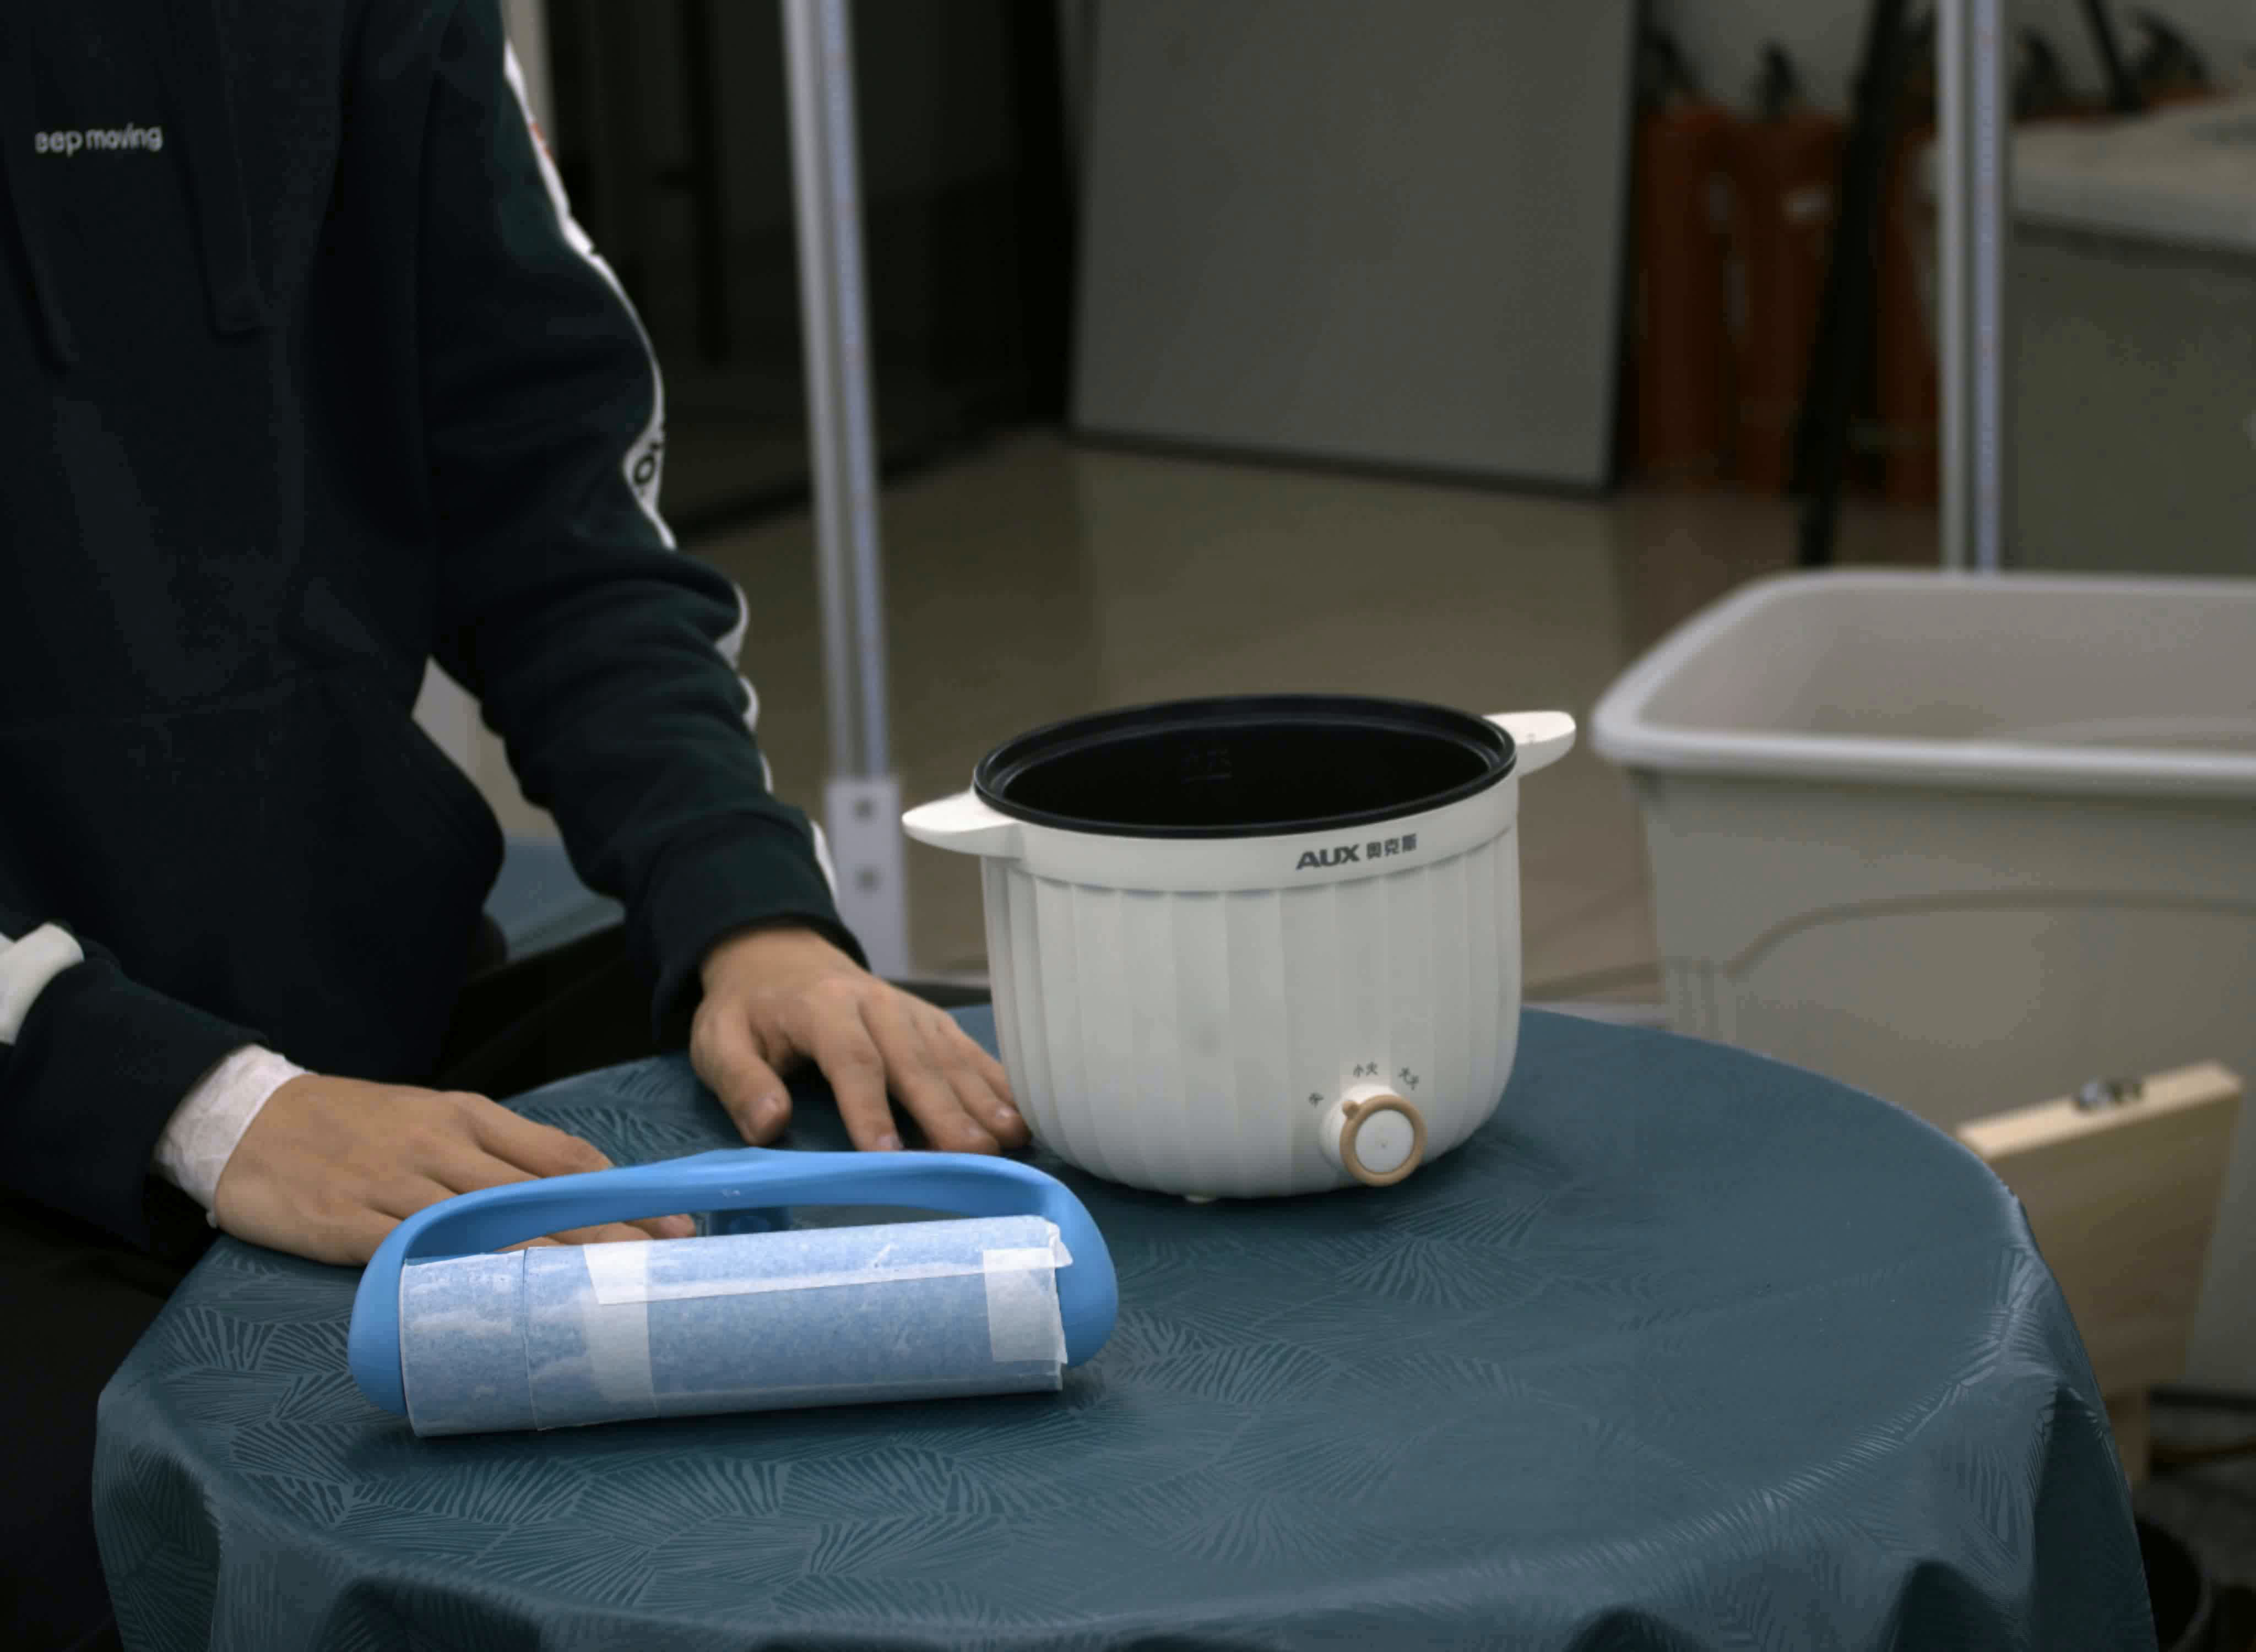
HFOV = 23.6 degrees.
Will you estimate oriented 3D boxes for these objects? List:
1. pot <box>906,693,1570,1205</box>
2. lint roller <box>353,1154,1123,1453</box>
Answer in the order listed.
[{"bbox_3d":[0.046,0.042,1.787,0.235,0.144,0.192,-11,12,-20],"label":"pot"},{"bbox_3d":[-0.119,0.132,1.645,0.226,0.068,0.181,-7,16,-2],"label":"lint roller"}]
